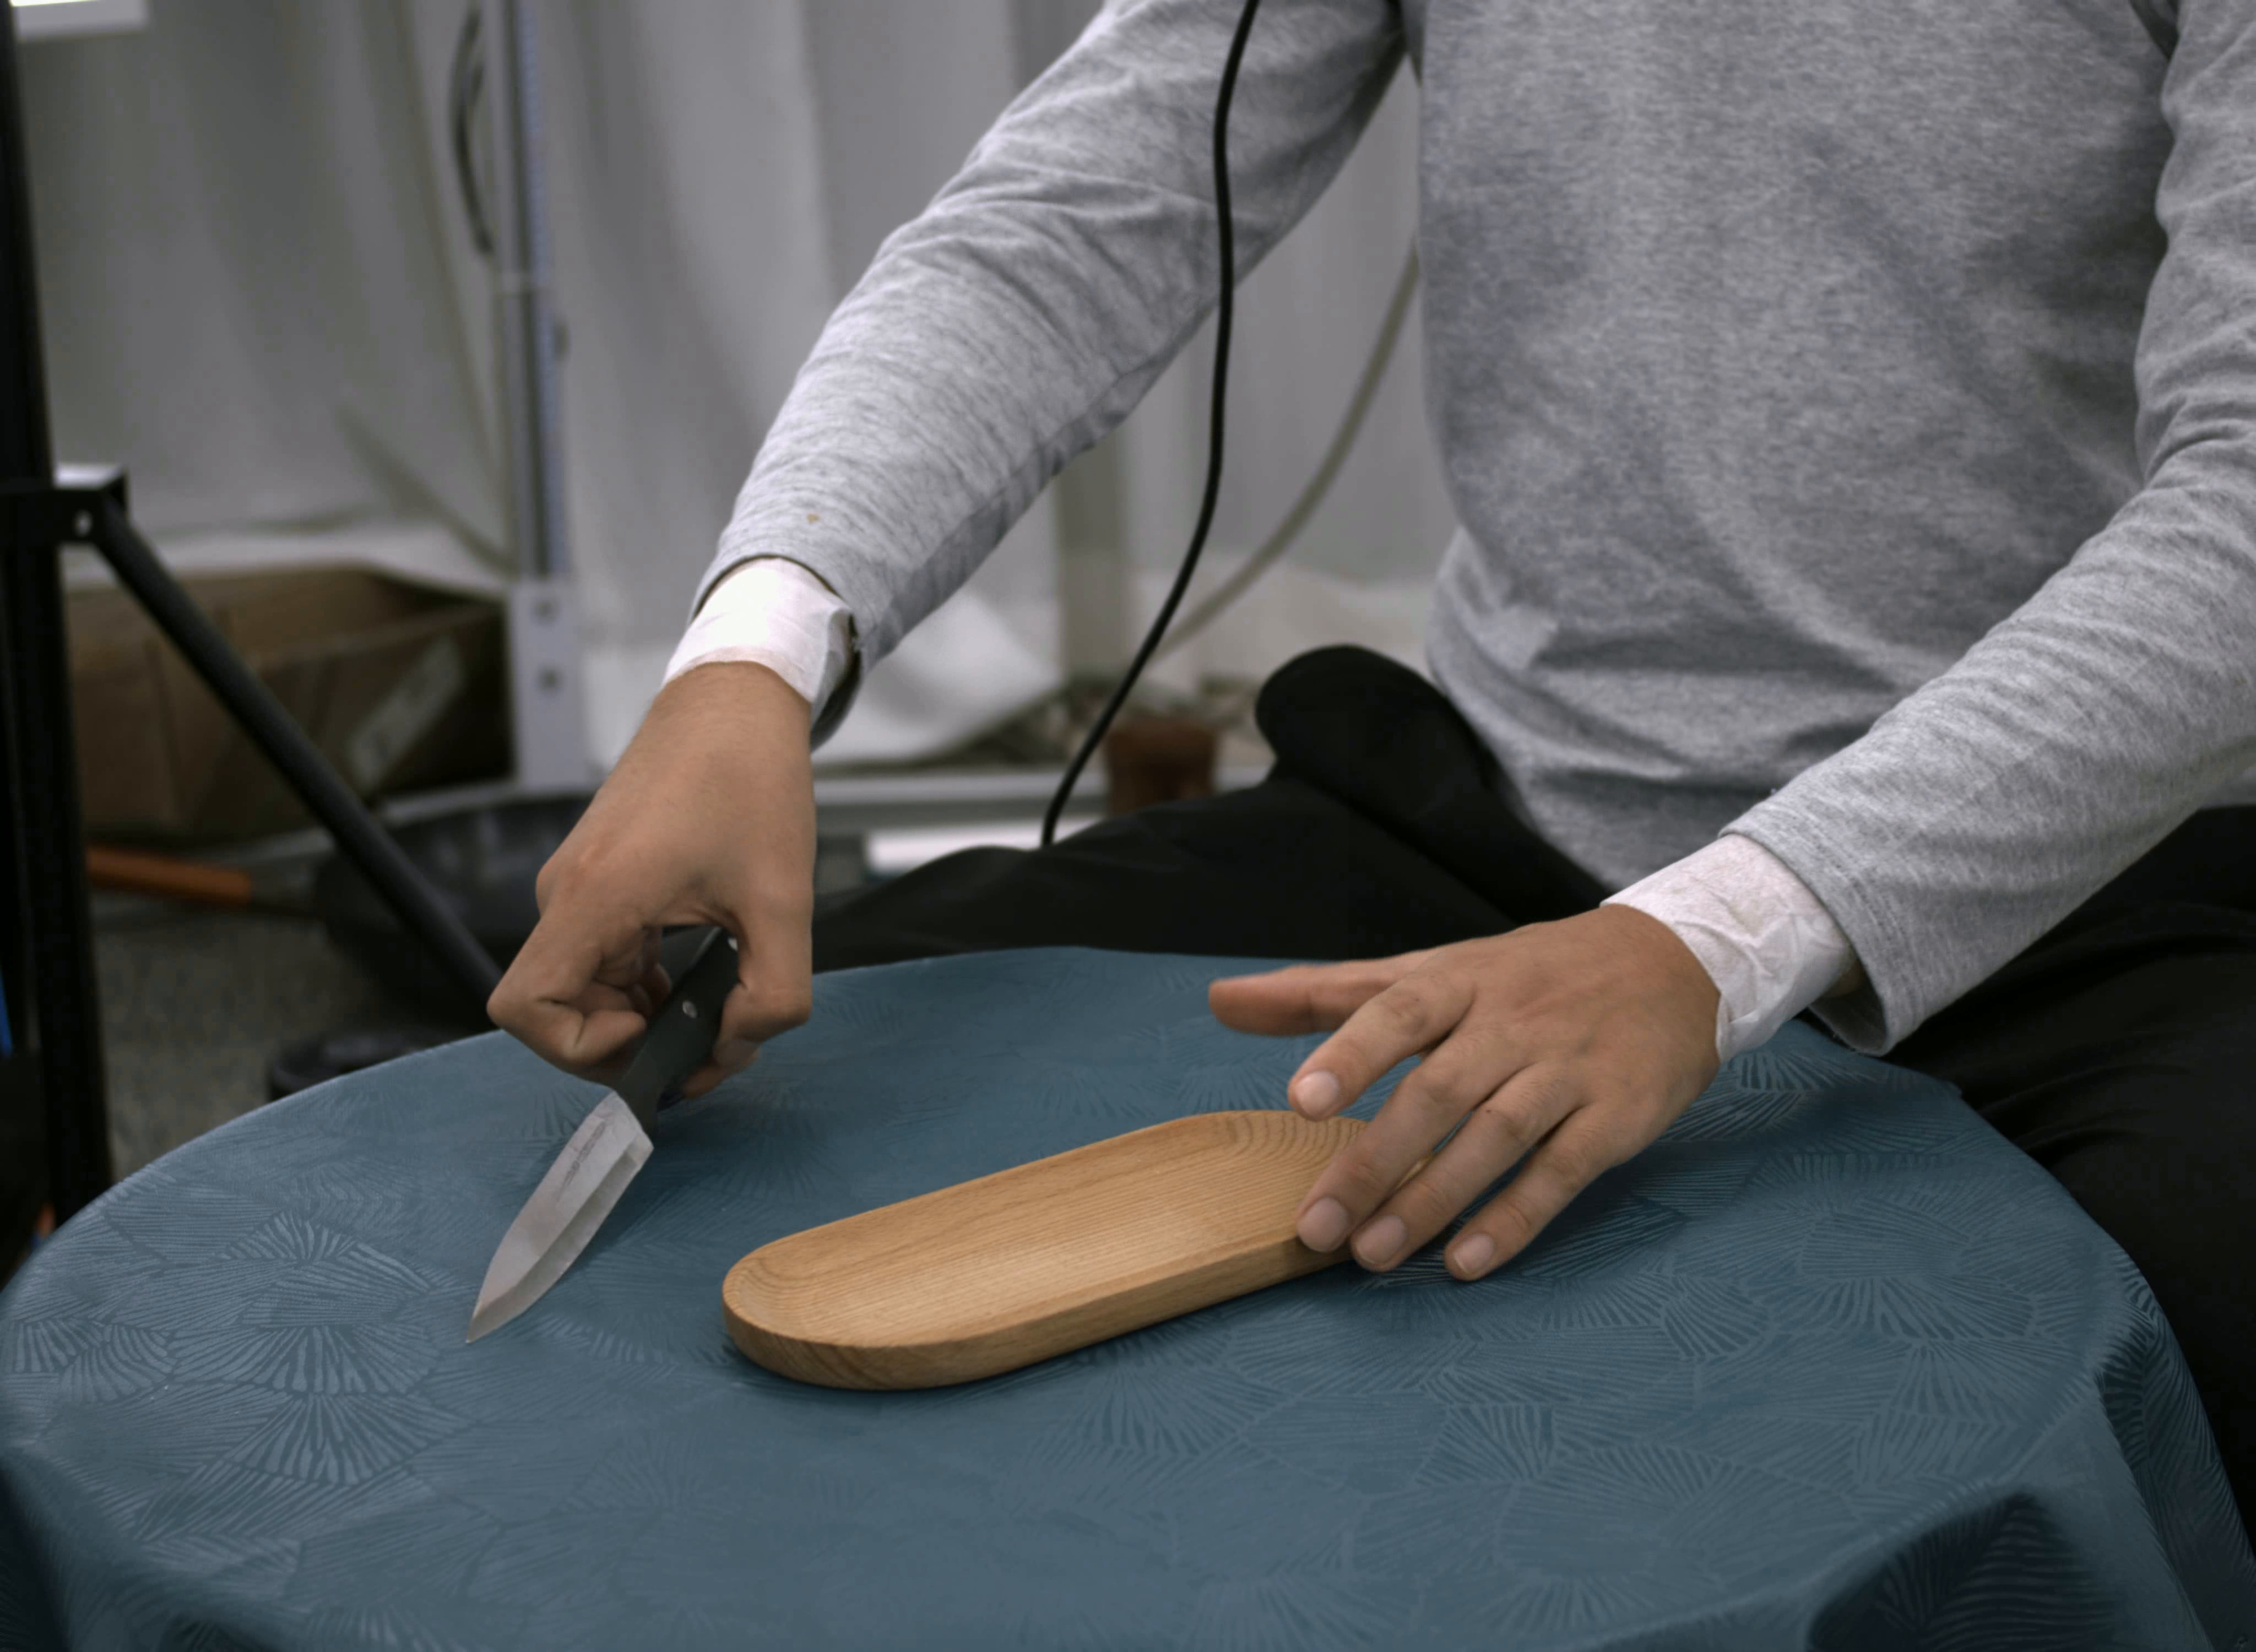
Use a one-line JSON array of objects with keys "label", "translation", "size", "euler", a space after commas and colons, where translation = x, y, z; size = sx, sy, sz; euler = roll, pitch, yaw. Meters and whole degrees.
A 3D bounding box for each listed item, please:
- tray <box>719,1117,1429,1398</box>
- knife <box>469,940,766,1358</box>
[{"label": "tray", "translation": [-0.012, 0.120, 1.493], "size": [0.226, 0.020, 0.104], "euler": [-16, 20, -37]}, {"label": "knife", "translation": [-0.152, 0.092, 1.569], "size": [0.024, 0.016, 0.237], "euler": [37, 30, -4]}]
